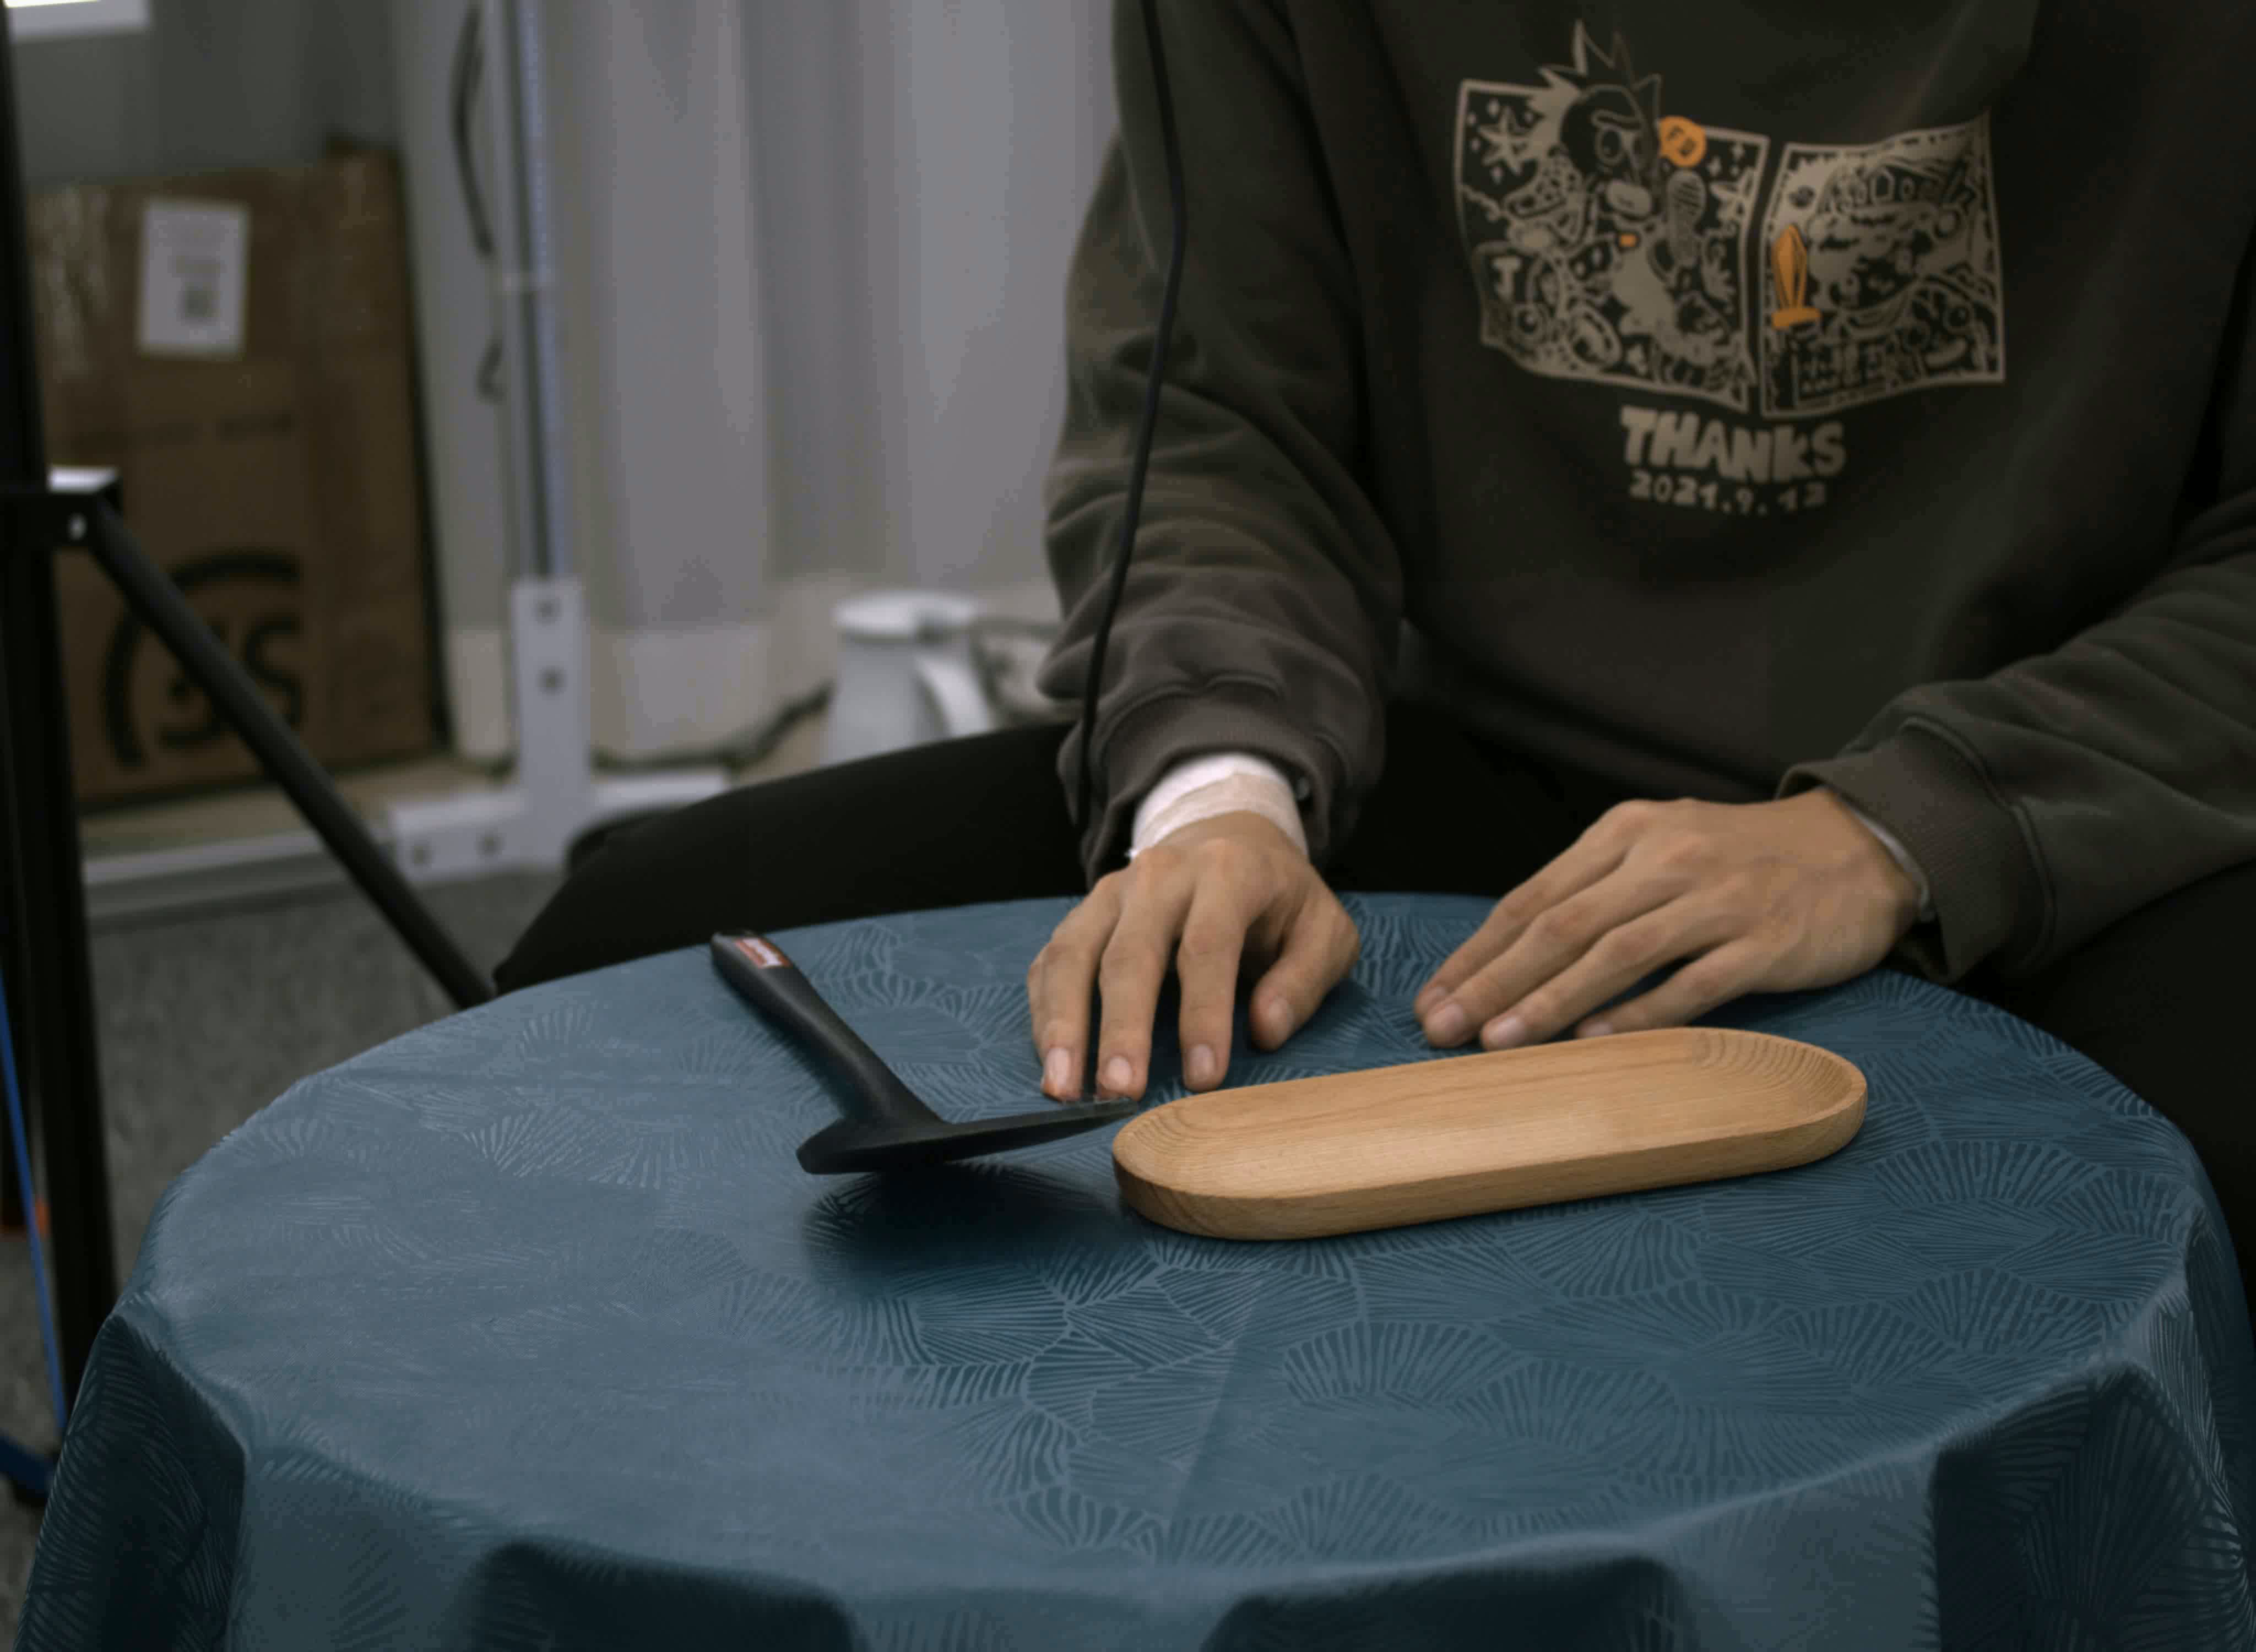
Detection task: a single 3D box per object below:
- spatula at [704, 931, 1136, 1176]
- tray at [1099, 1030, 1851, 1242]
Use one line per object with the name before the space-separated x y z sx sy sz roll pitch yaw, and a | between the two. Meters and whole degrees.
spatula | -0.089 0.065 1.664 0.098 0.040 0.331 -6 16 -16
tray | 0.104 0.092 1.572 0.227 0.020 0.103 -8 16 -14
